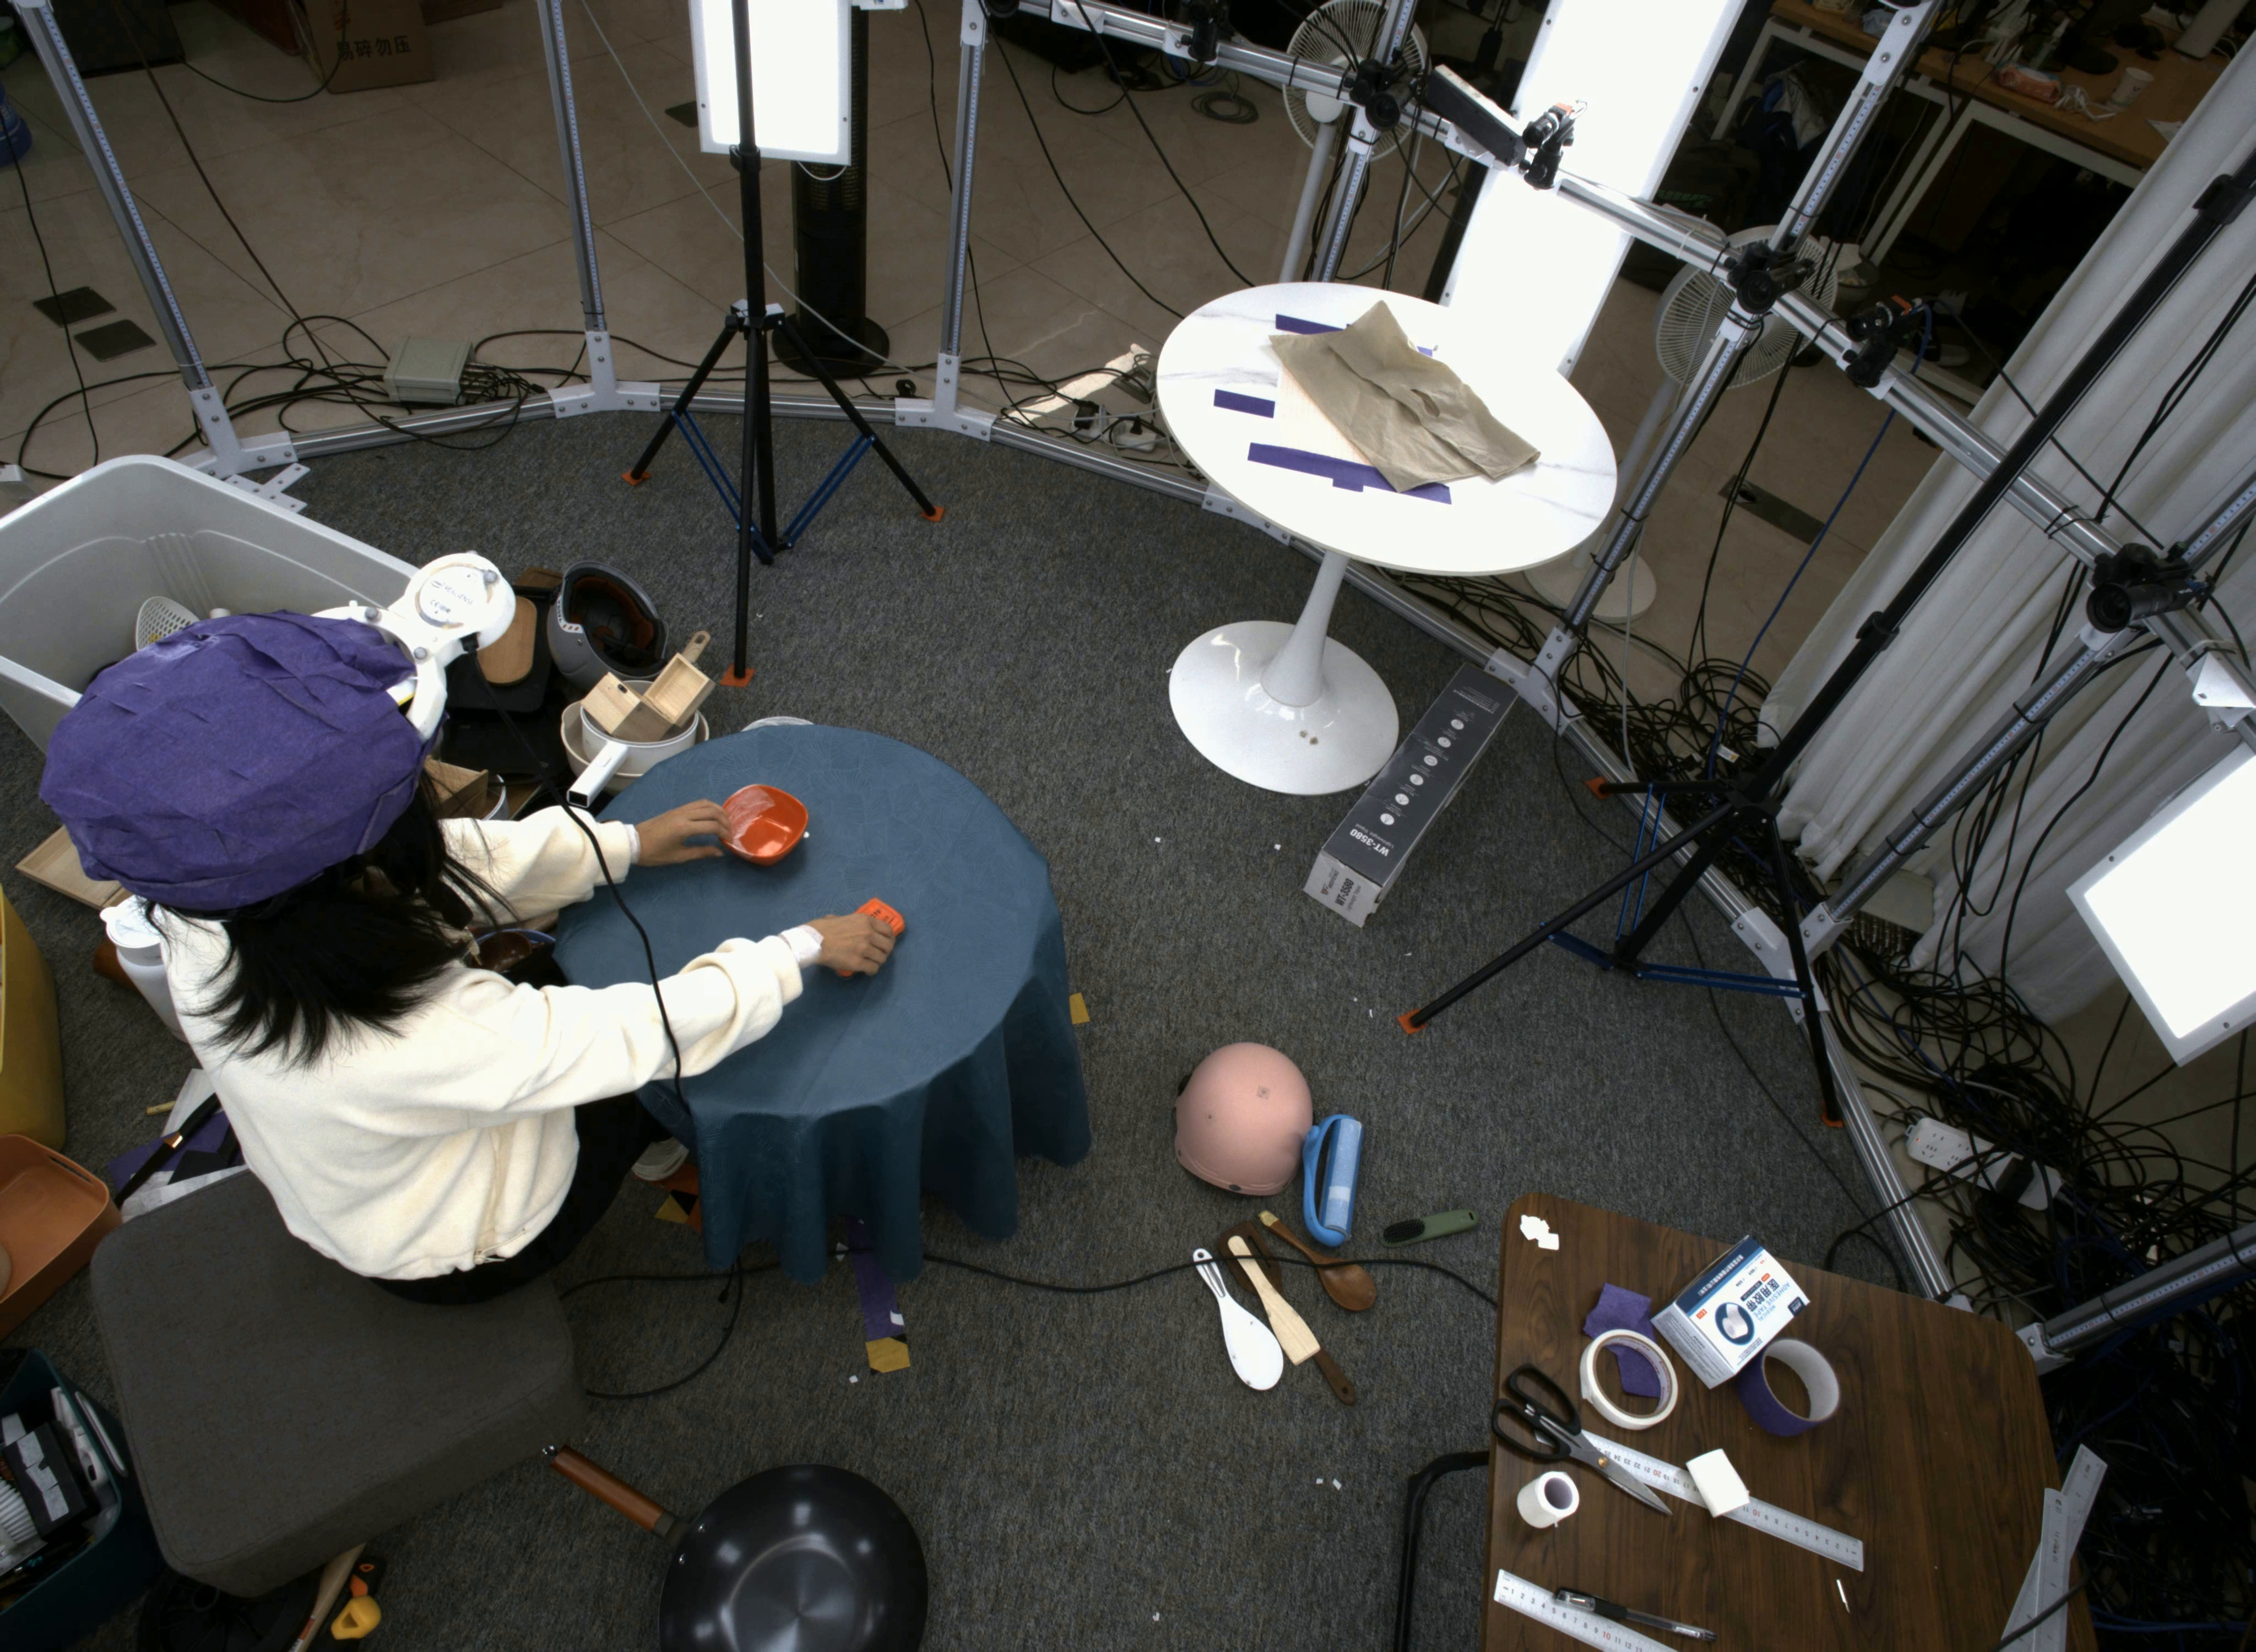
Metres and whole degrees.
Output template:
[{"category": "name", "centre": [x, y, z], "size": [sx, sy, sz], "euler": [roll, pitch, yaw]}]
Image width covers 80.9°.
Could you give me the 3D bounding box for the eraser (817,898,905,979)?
[{"category": "eraser", "centre": [-0.333, 0.138, 1.625], "size": [0.058, 0.023, 0.108], "euler": [39, 54, 13]}]

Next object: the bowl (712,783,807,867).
[{"category": "bowl", "centre": [-0.474, 0.006, 1.669], "size": [0.119, 0.052, 0.117], "euler": [8, 54, -9]}]
